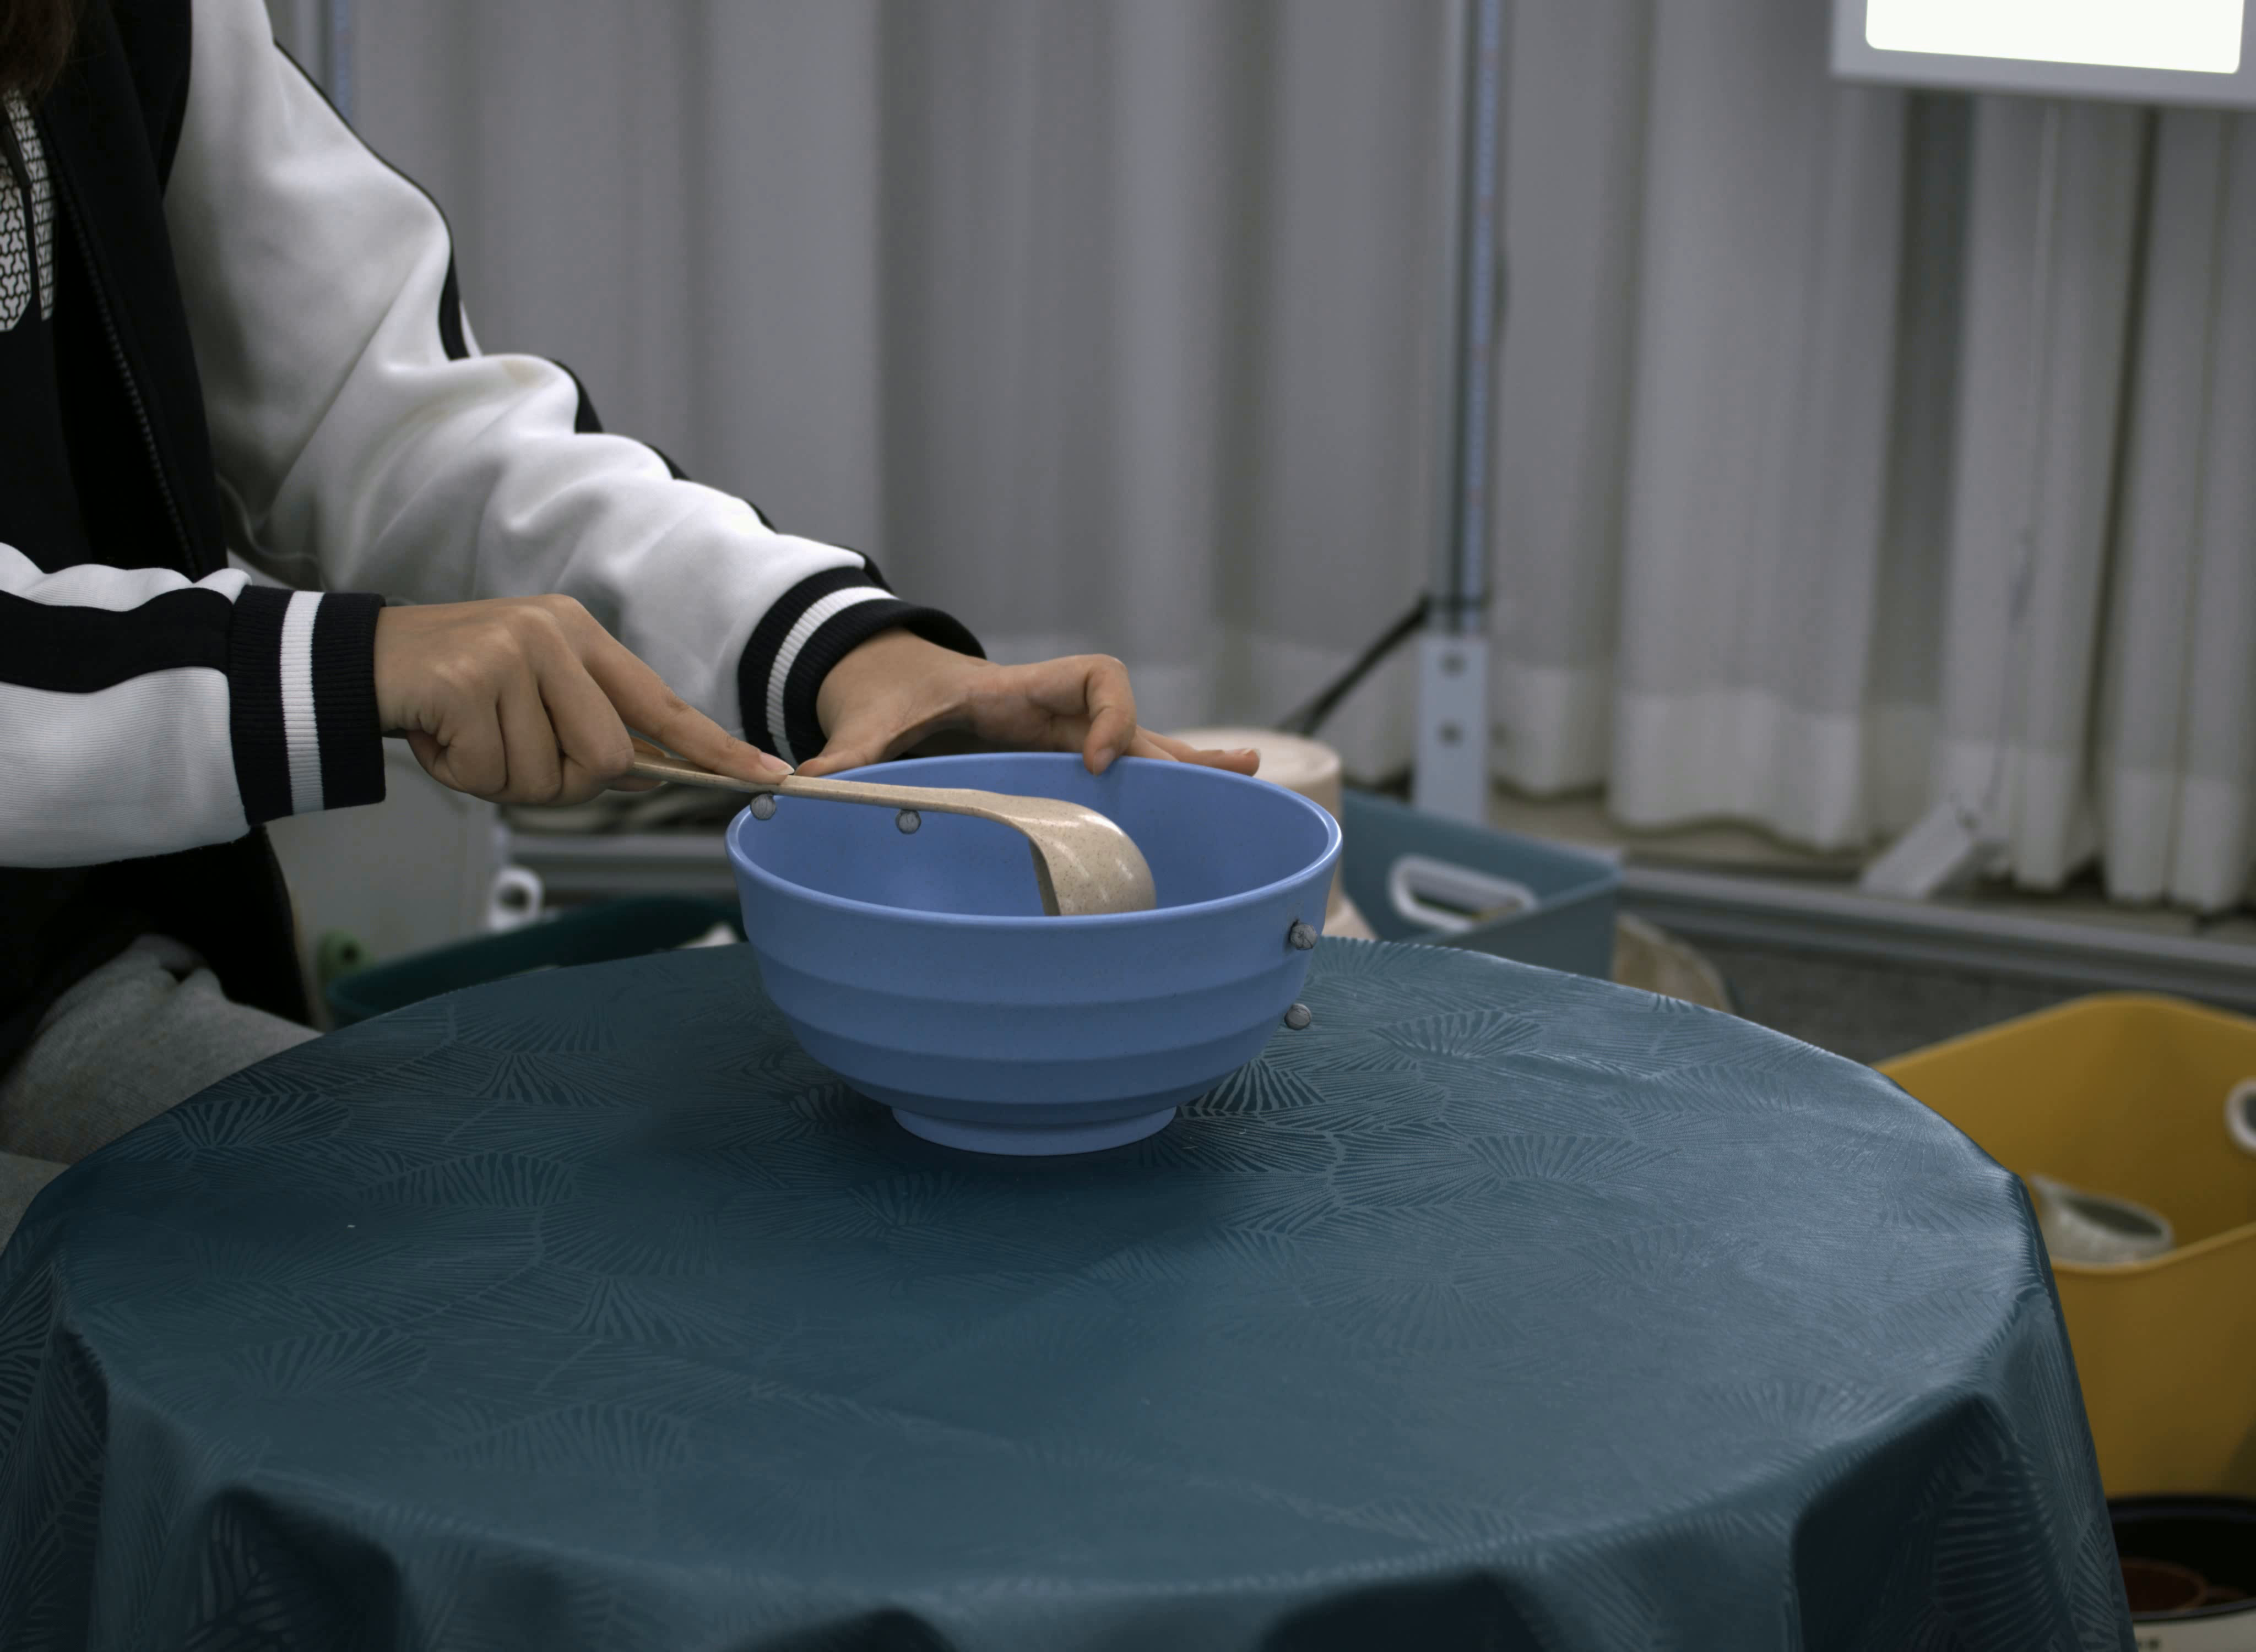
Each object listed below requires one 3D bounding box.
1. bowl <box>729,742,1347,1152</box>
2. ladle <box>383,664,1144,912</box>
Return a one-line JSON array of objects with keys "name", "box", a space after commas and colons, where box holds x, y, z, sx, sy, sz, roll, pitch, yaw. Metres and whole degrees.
[{"name": "bowl", "box": [-0.031, 0.045, 1.682, 0.196, 0.096, 0.195, 3, 16, 0]}, {"name": "ladle", "box": [-0.122, 0.009, 1.659, 0.253, 0.072, 0.072, 13, 60, 0]}]
